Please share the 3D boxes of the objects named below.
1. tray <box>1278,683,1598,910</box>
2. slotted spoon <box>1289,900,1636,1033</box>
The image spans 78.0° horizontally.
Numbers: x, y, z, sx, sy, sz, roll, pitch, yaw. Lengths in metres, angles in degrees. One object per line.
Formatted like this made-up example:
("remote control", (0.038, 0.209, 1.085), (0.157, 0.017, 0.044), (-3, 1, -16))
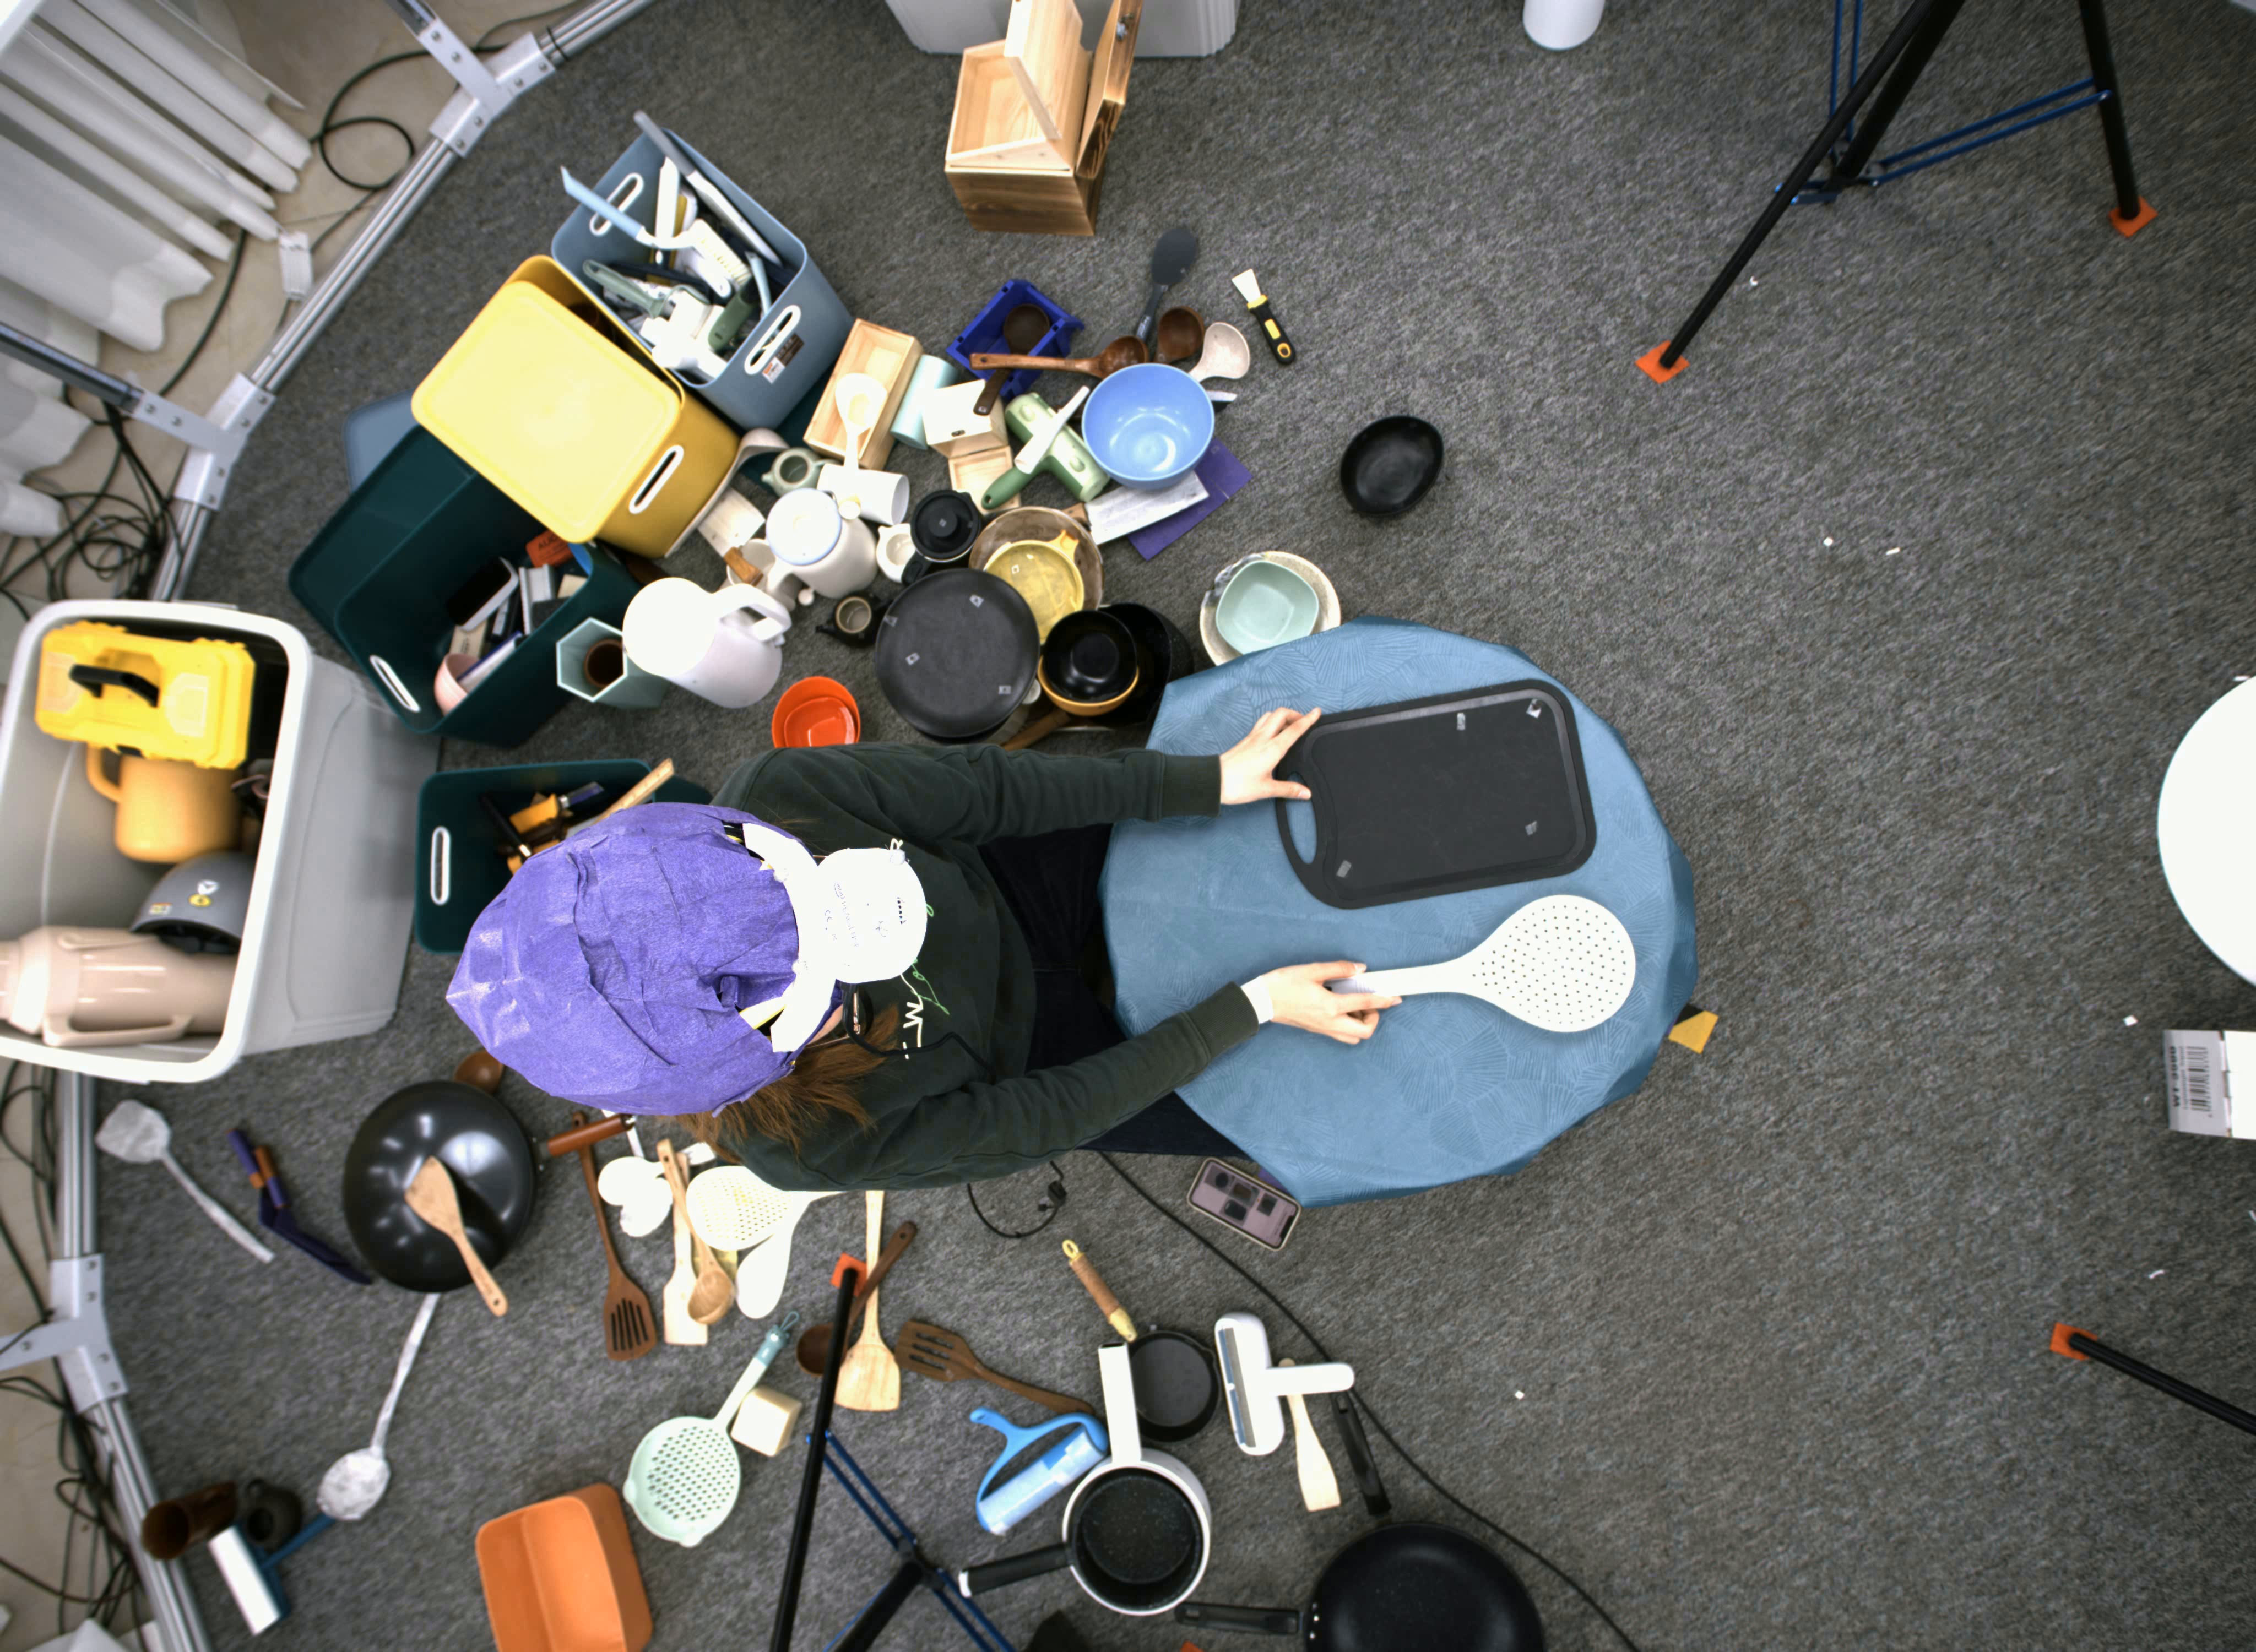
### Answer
("tray", (0.322, -0.031, 1.456), (0.327, 0.010, 0.210), (-10, 86, 9))
("slotted spoon", (0.340, 0.155, 1.423), (0.351, 0.046, 0.134), (-7, 77, 11))
